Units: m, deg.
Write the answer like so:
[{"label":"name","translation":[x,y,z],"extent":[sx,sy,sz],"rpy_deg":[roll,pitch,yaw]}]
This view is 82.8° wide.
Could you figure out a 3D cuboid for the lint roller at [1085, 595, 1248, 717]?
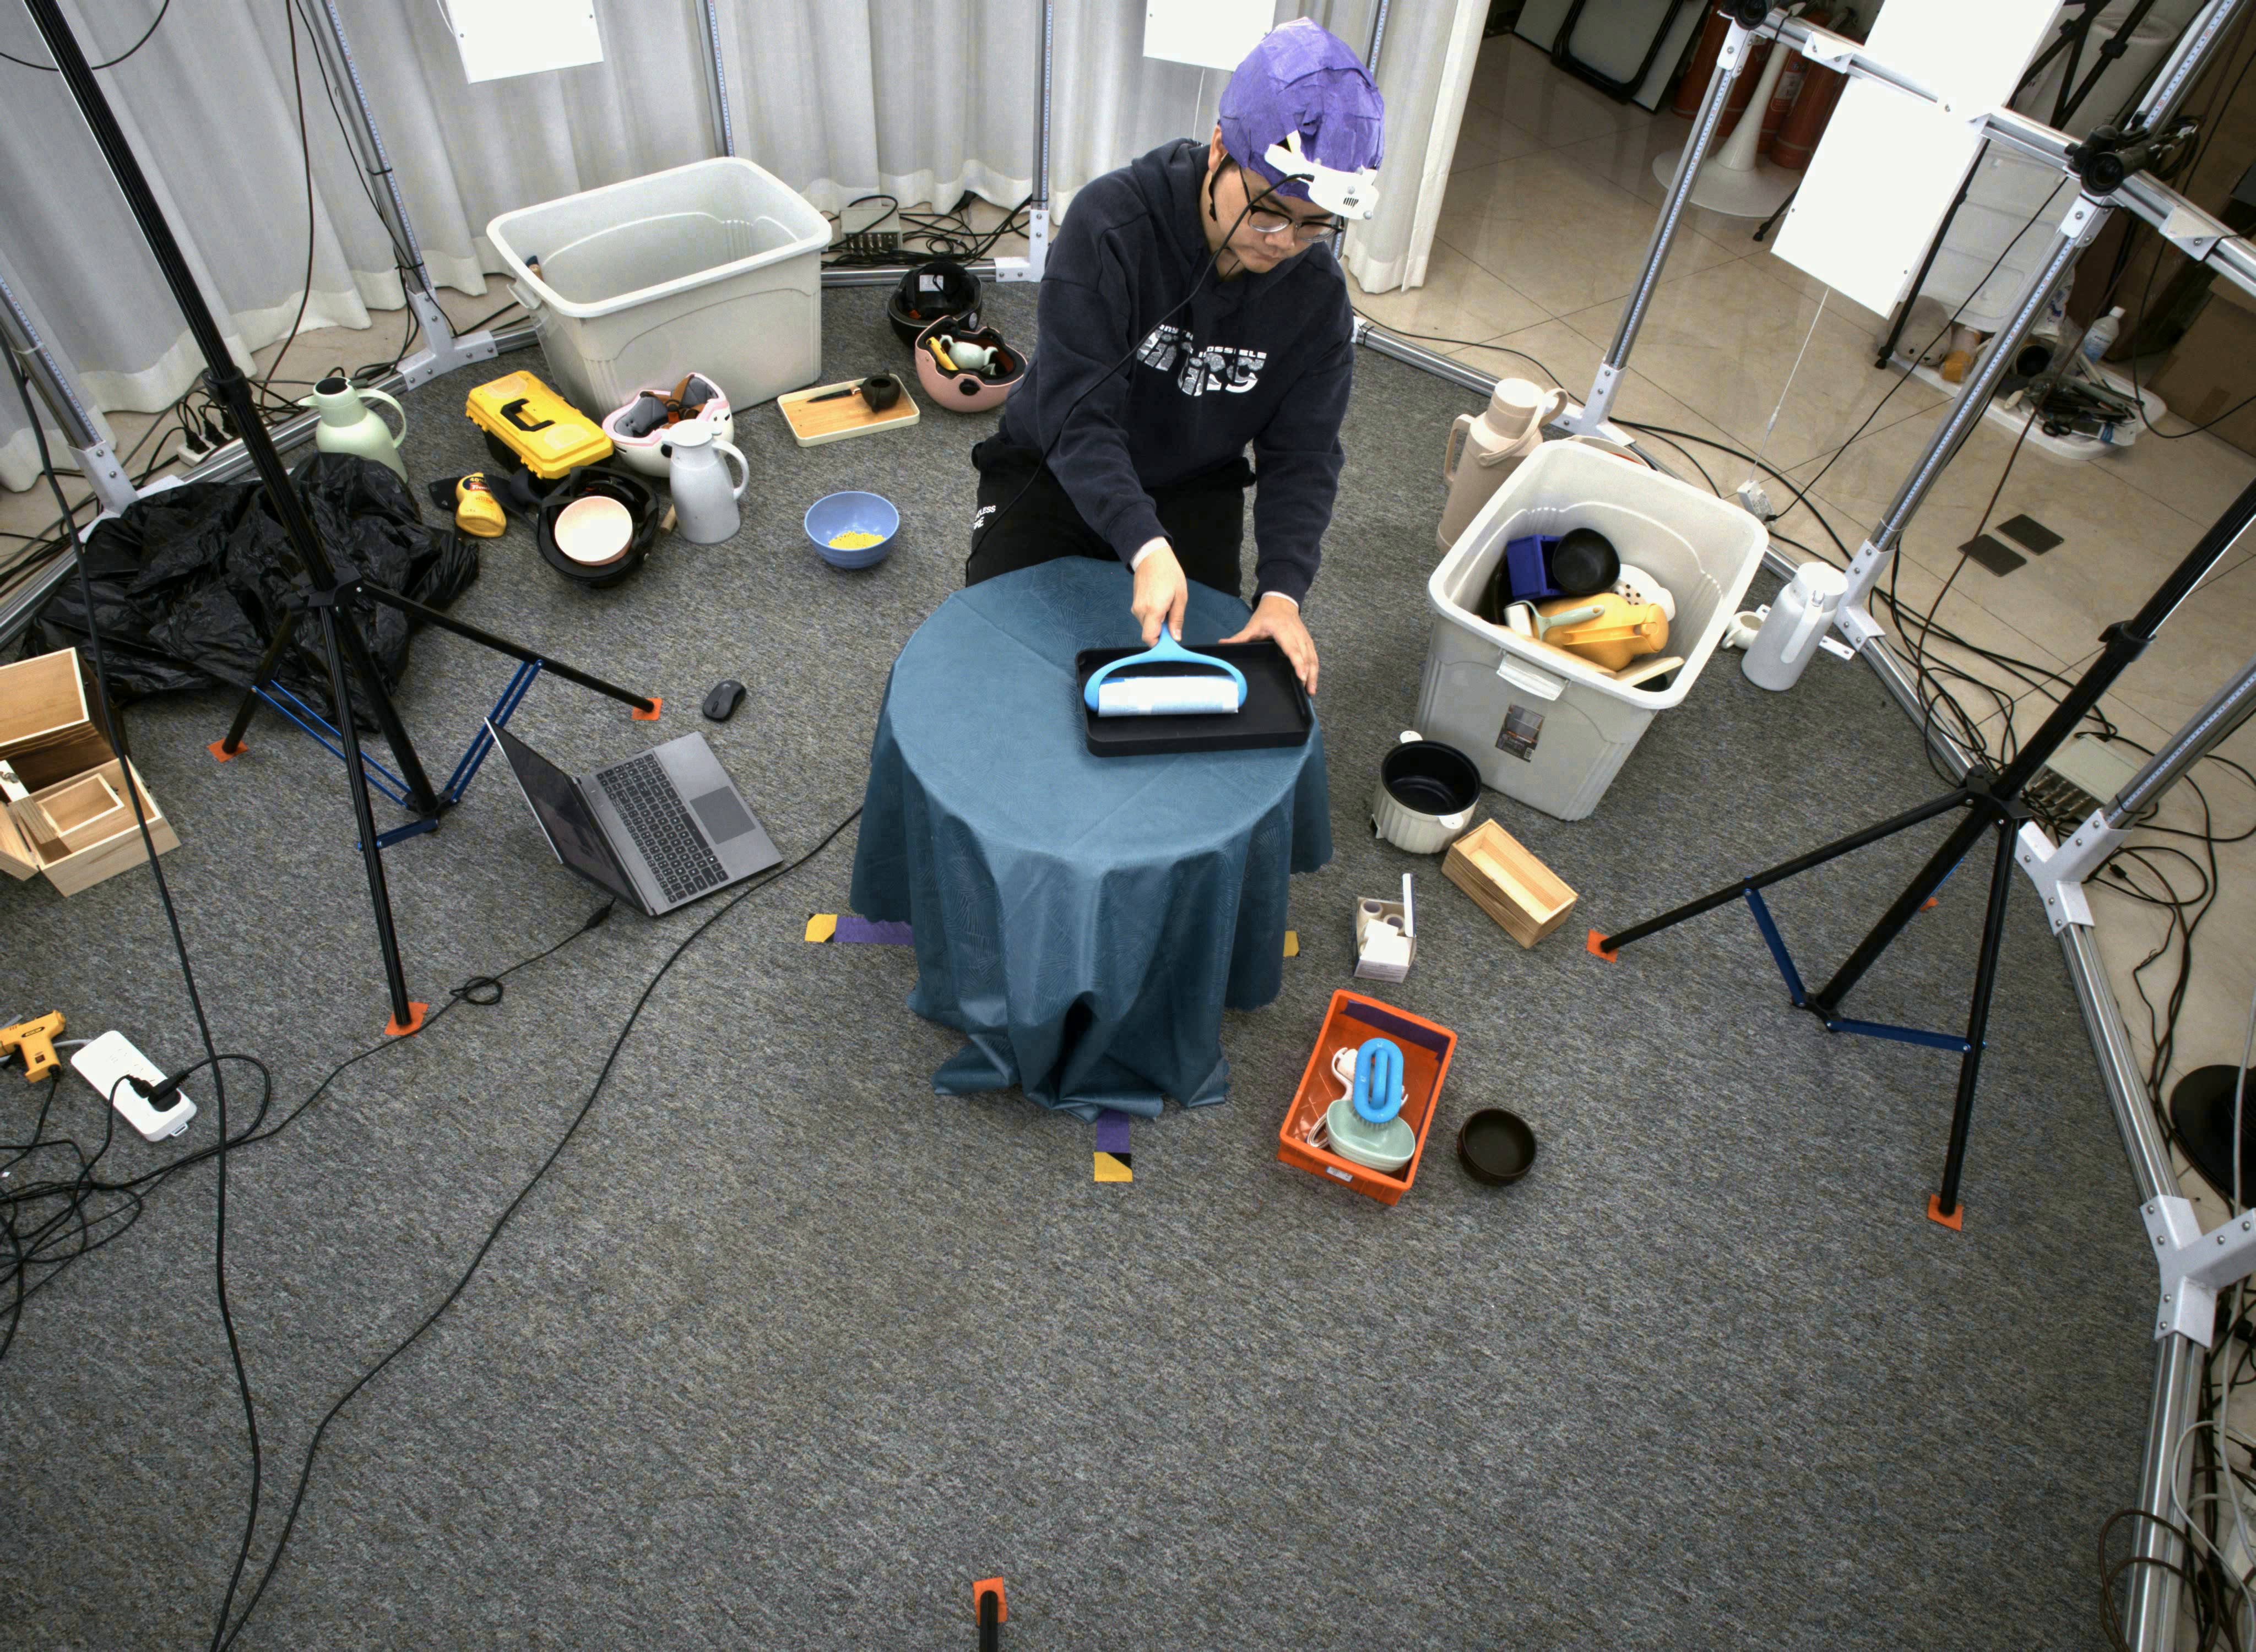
[{"label":"lint roller","translation":[0.050,-0.241,1.792],"extent":[0.228,0.067,0.181],"rpy_deg":[-4,85,-5]}]

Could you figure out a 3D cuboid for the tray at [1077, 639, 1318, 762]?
[{"label":"tray","translation":[0.094,-0.180,1.810],"extent":[0.317,0.036,0.189],"rpy_deg":[-6,49,-7]}]
